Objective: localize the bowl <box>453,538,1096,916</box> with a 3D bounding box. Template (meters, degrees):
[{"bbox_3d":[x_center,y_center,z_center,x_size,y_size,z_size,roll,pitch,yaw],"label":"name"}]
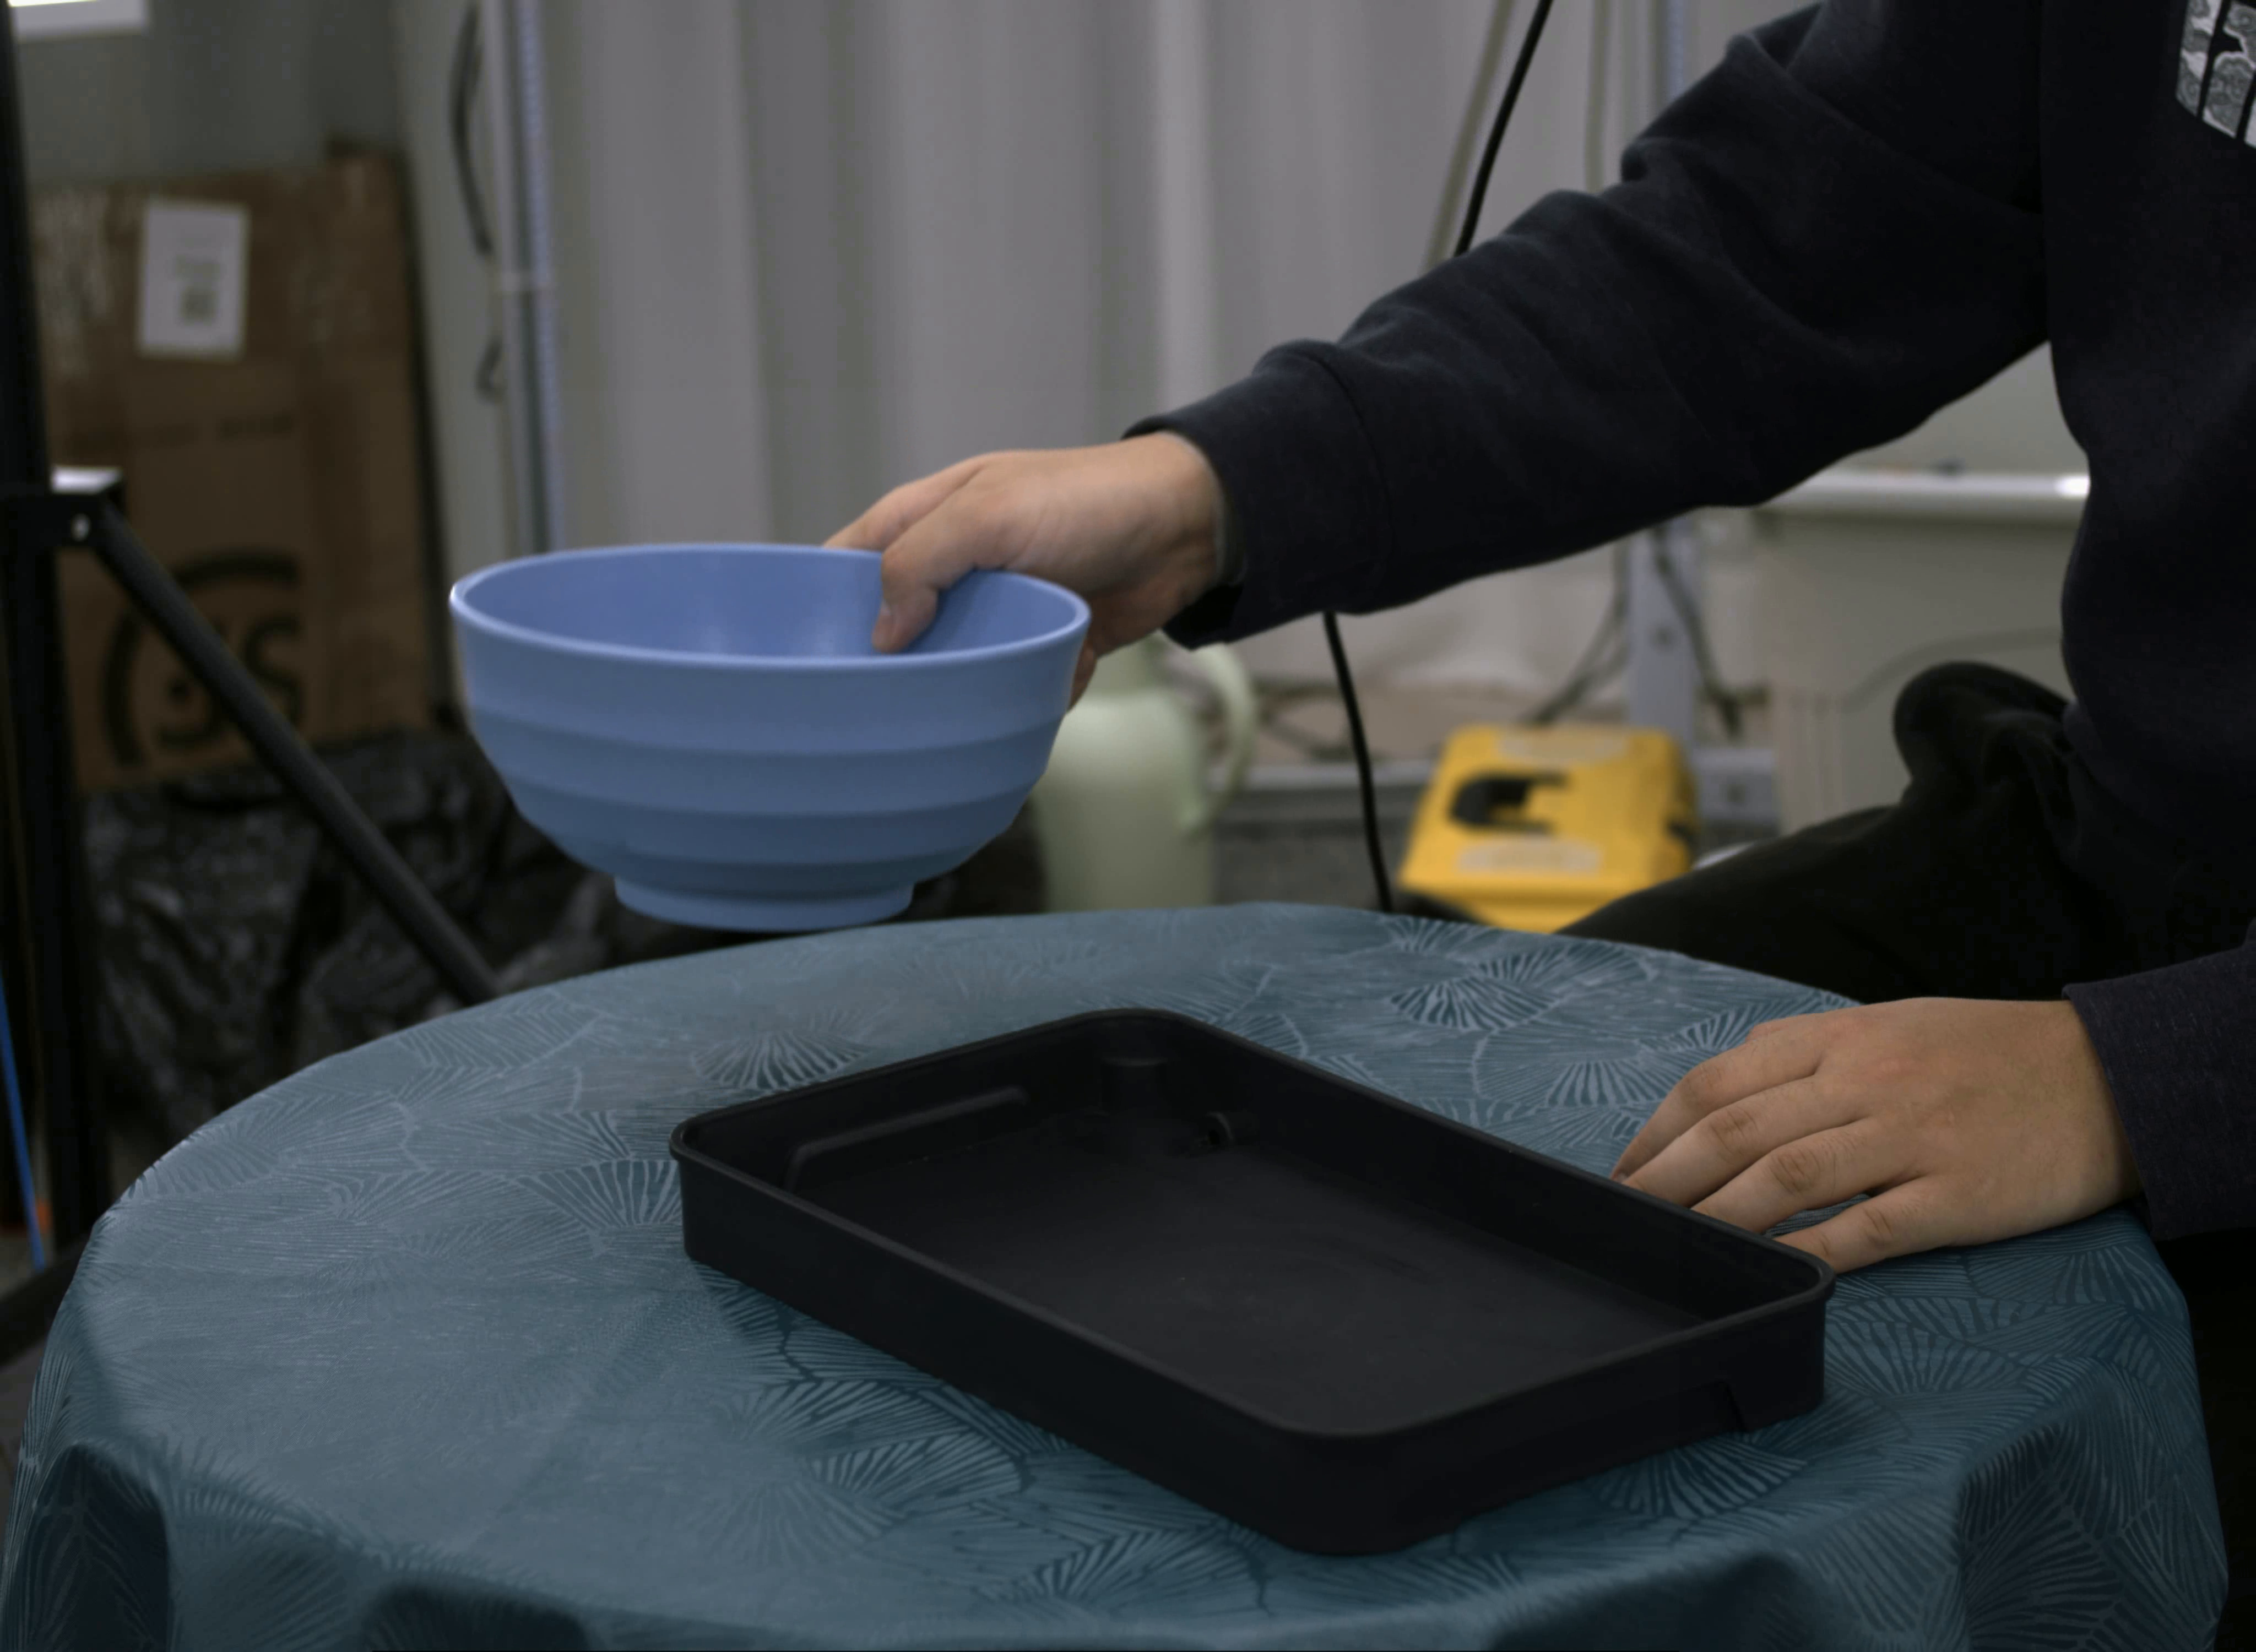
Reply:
[{"bbox_3d":[-0.109,-0.028,1.633,0.195,0.095,0.197,1,11,-2],"label":"bowl"}]

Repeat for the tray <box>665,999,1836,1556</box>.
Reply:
[{"bbox_3d":[0.027,0.117,1.454,0.180,0.037,0.325,-13,19,-34],"label":"tray"}]
